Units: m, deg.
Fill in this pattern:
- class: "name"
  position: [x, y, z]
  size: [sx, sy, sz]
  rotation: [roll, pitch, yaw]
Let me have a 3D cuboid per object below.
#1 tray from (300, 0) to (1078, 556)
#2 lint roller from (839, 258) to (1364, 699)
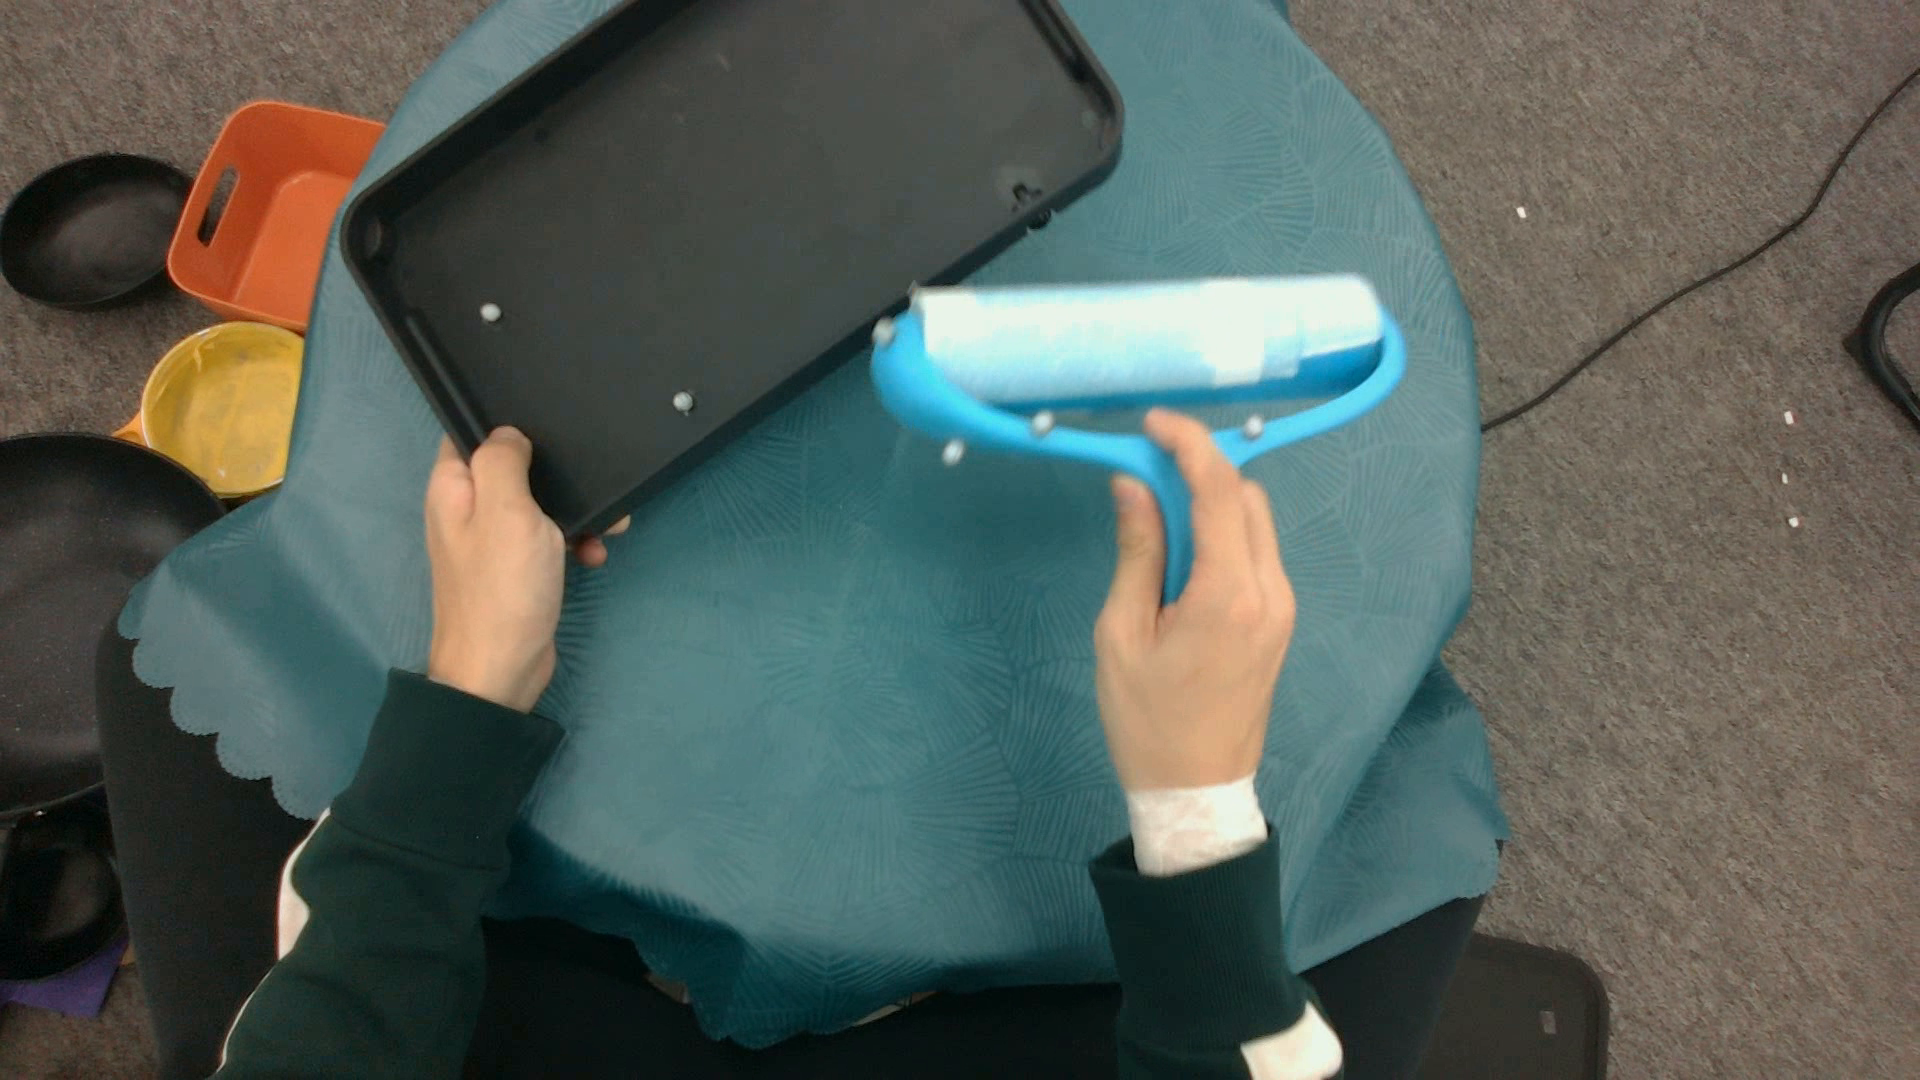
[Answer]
- class: "tray"
  position: [-0.119, -0.152, 0.601]
  size: [0.317, 0.037, 0.184]
  rotation: [-37, 83, 5]
- class: "lint roller"
  position: [0.076, -0.028, 0.570]
  size: [0.229, 0.067, 0.180]
  rotation: [-10, 77, -16]
